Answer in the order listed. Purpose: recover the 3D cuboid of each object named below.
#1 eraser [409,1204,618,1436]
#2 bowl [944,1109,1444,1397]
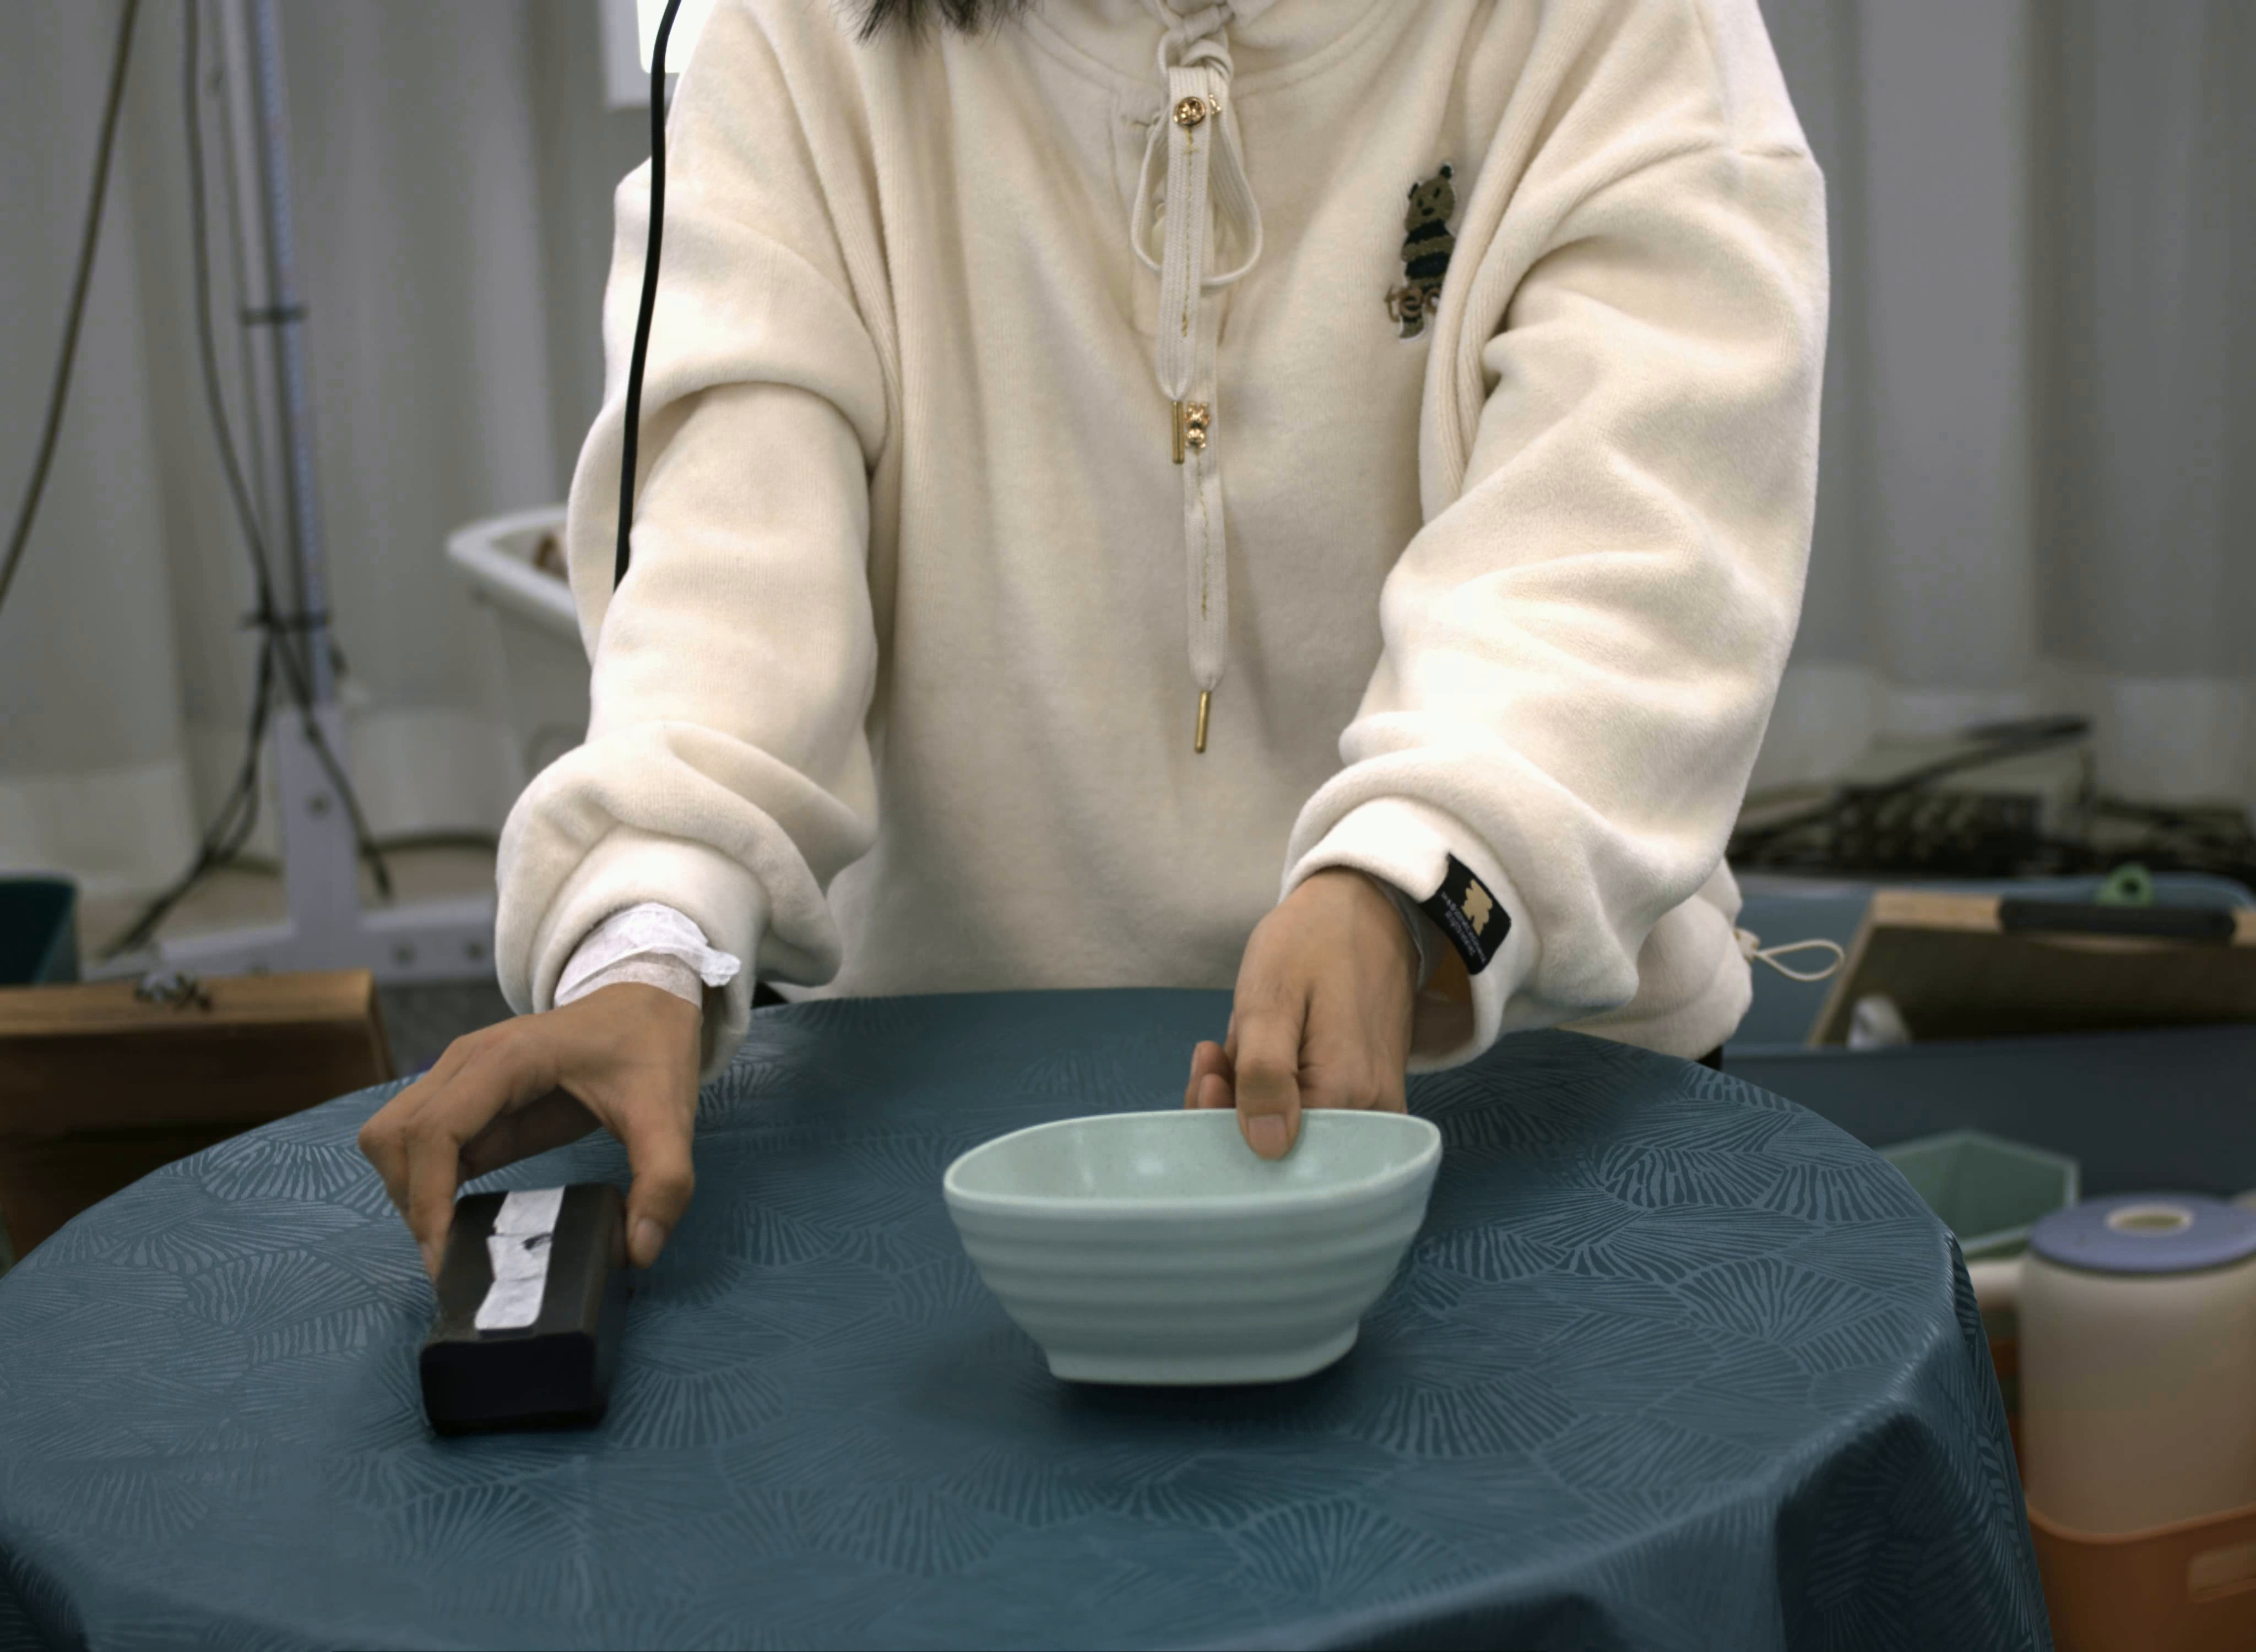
[{"bbox_3d":[-0.176,0.142,1.587,0.053,0.030,0.126,-4,14,-2],"label":"eraser"},{"bbox_3d":[0.019,0.123,1.549,0.151,0.058,0.152,-1,9,0],"label":"bowl"}]
